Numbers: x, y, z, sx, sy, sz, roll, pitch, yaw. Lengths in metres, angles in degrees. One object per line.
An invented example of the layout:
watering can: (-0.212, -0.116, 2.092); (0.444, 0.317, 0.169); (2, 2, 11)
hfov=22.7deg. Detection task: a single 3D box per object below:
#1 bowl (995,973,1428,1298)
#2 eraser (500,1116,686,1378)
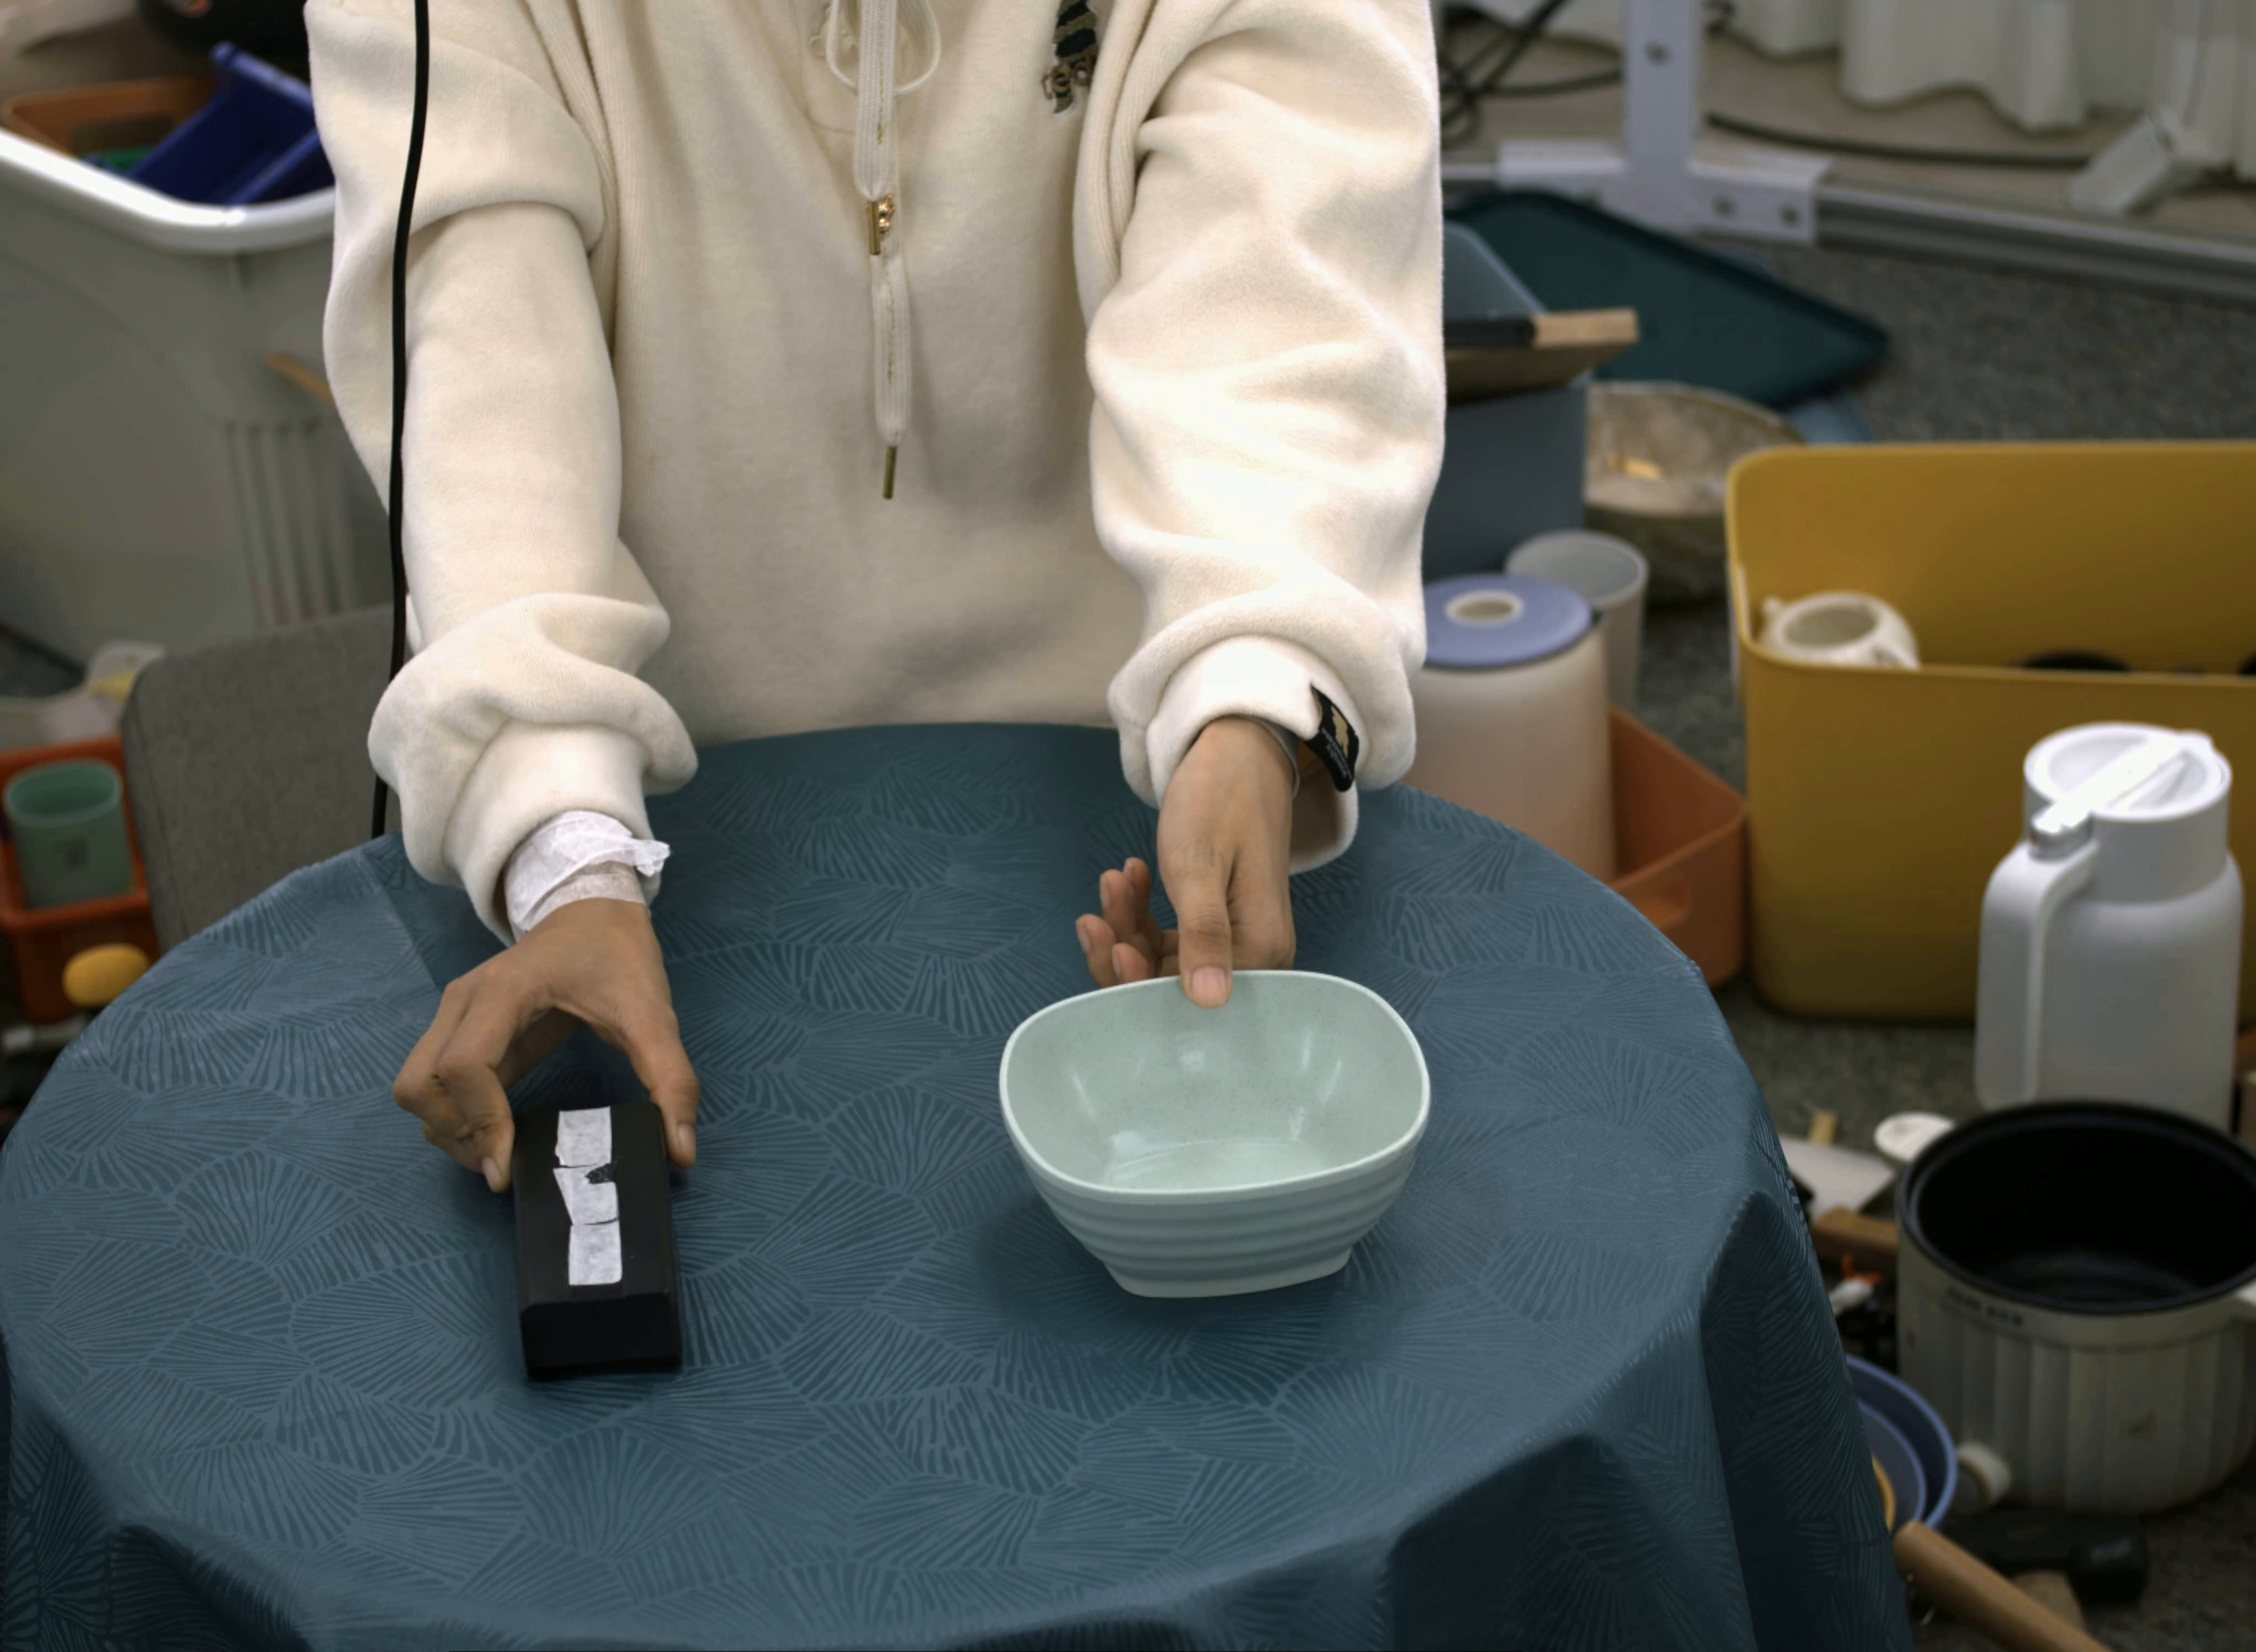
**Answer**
bowl: (0.027, 0.107, 1.827); (0.151, 0.058, 0.154); (0, 27, 0)
eraser: (-0.174, 0.136, 1.822); (0.053, 0.030, 0.127); (-4, 25, -7)
